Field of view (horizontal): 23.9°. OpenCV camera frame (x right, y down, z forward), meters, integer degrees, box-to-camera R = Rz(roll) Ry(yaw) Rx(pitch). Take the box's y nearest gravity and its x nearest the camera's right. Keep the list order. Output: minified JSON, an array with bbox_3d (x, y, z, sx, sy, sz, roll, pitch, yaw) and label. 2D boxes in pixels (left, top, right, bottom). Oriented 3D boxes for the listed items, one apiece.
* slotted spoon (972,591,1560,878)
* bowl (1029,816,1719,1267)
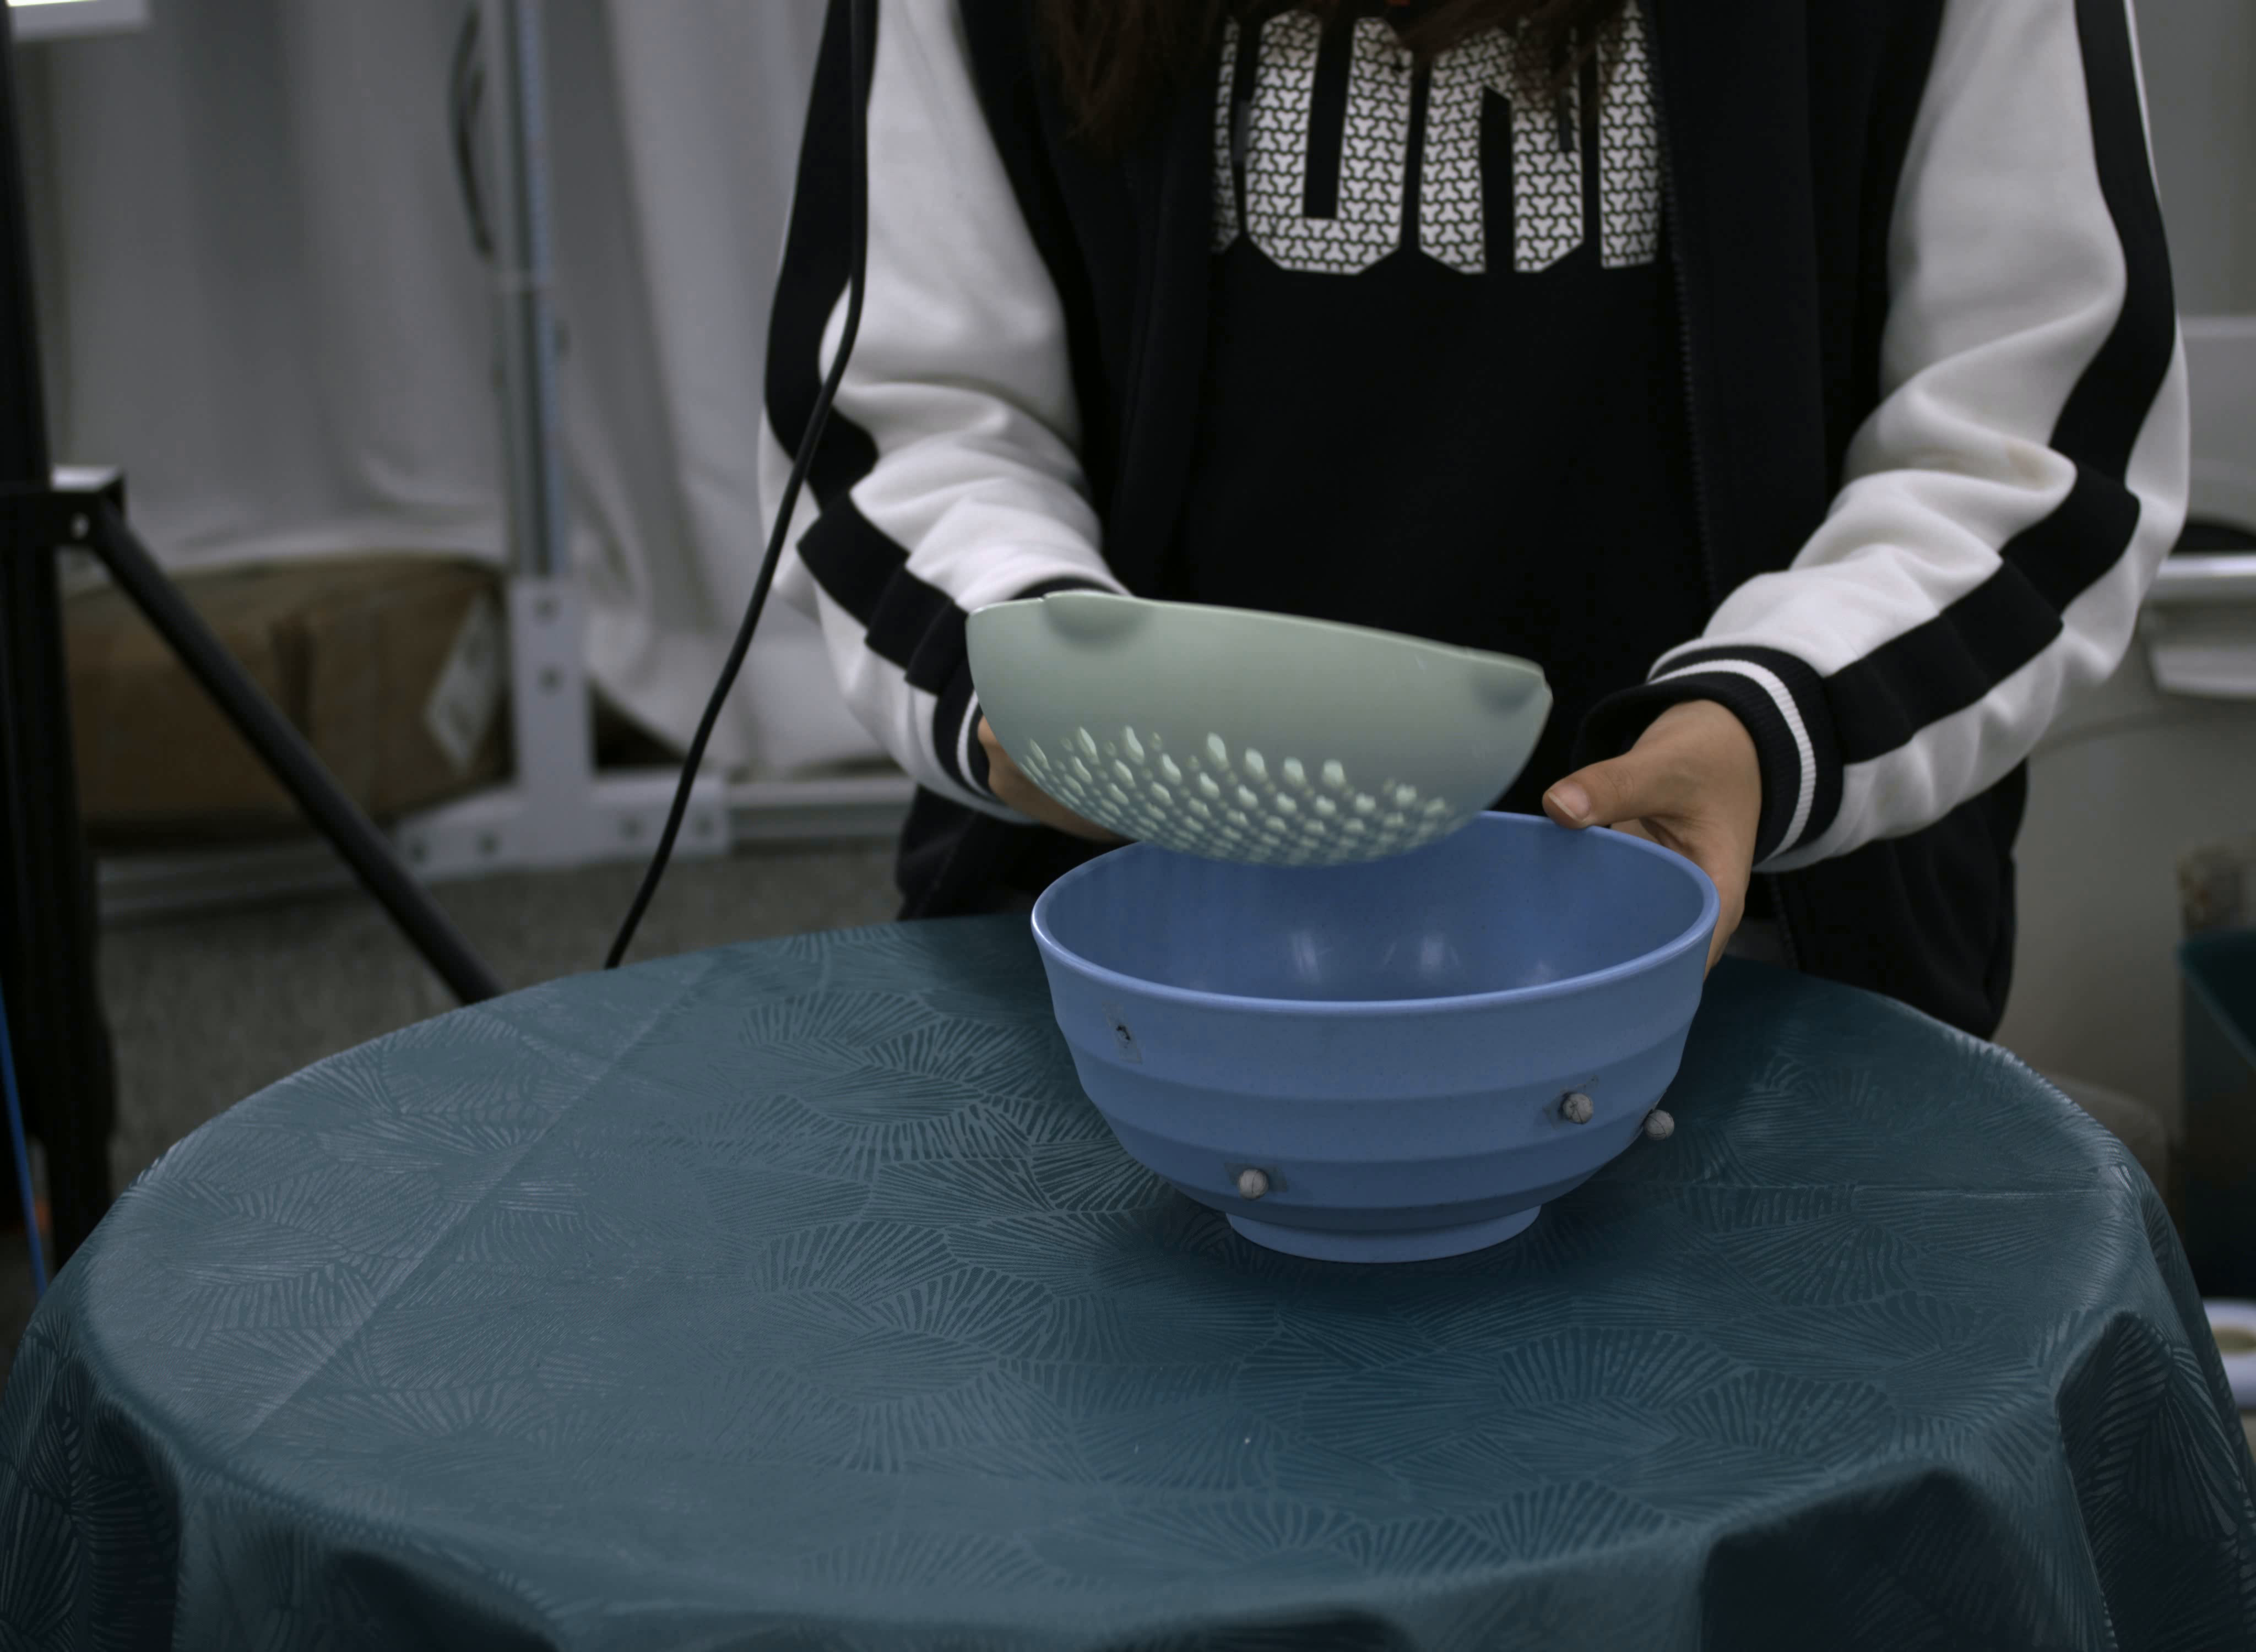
[{"bbox_3d":[0.020,-0.021,1.607,0.167,0.076,0.361,11,-1,-8],"label":"slotted spoon"},{"bbox_3d":[0.072,0.067,1.520,0.195,0.095,0.197,-3,15,-1],"label":"bowl"}]
